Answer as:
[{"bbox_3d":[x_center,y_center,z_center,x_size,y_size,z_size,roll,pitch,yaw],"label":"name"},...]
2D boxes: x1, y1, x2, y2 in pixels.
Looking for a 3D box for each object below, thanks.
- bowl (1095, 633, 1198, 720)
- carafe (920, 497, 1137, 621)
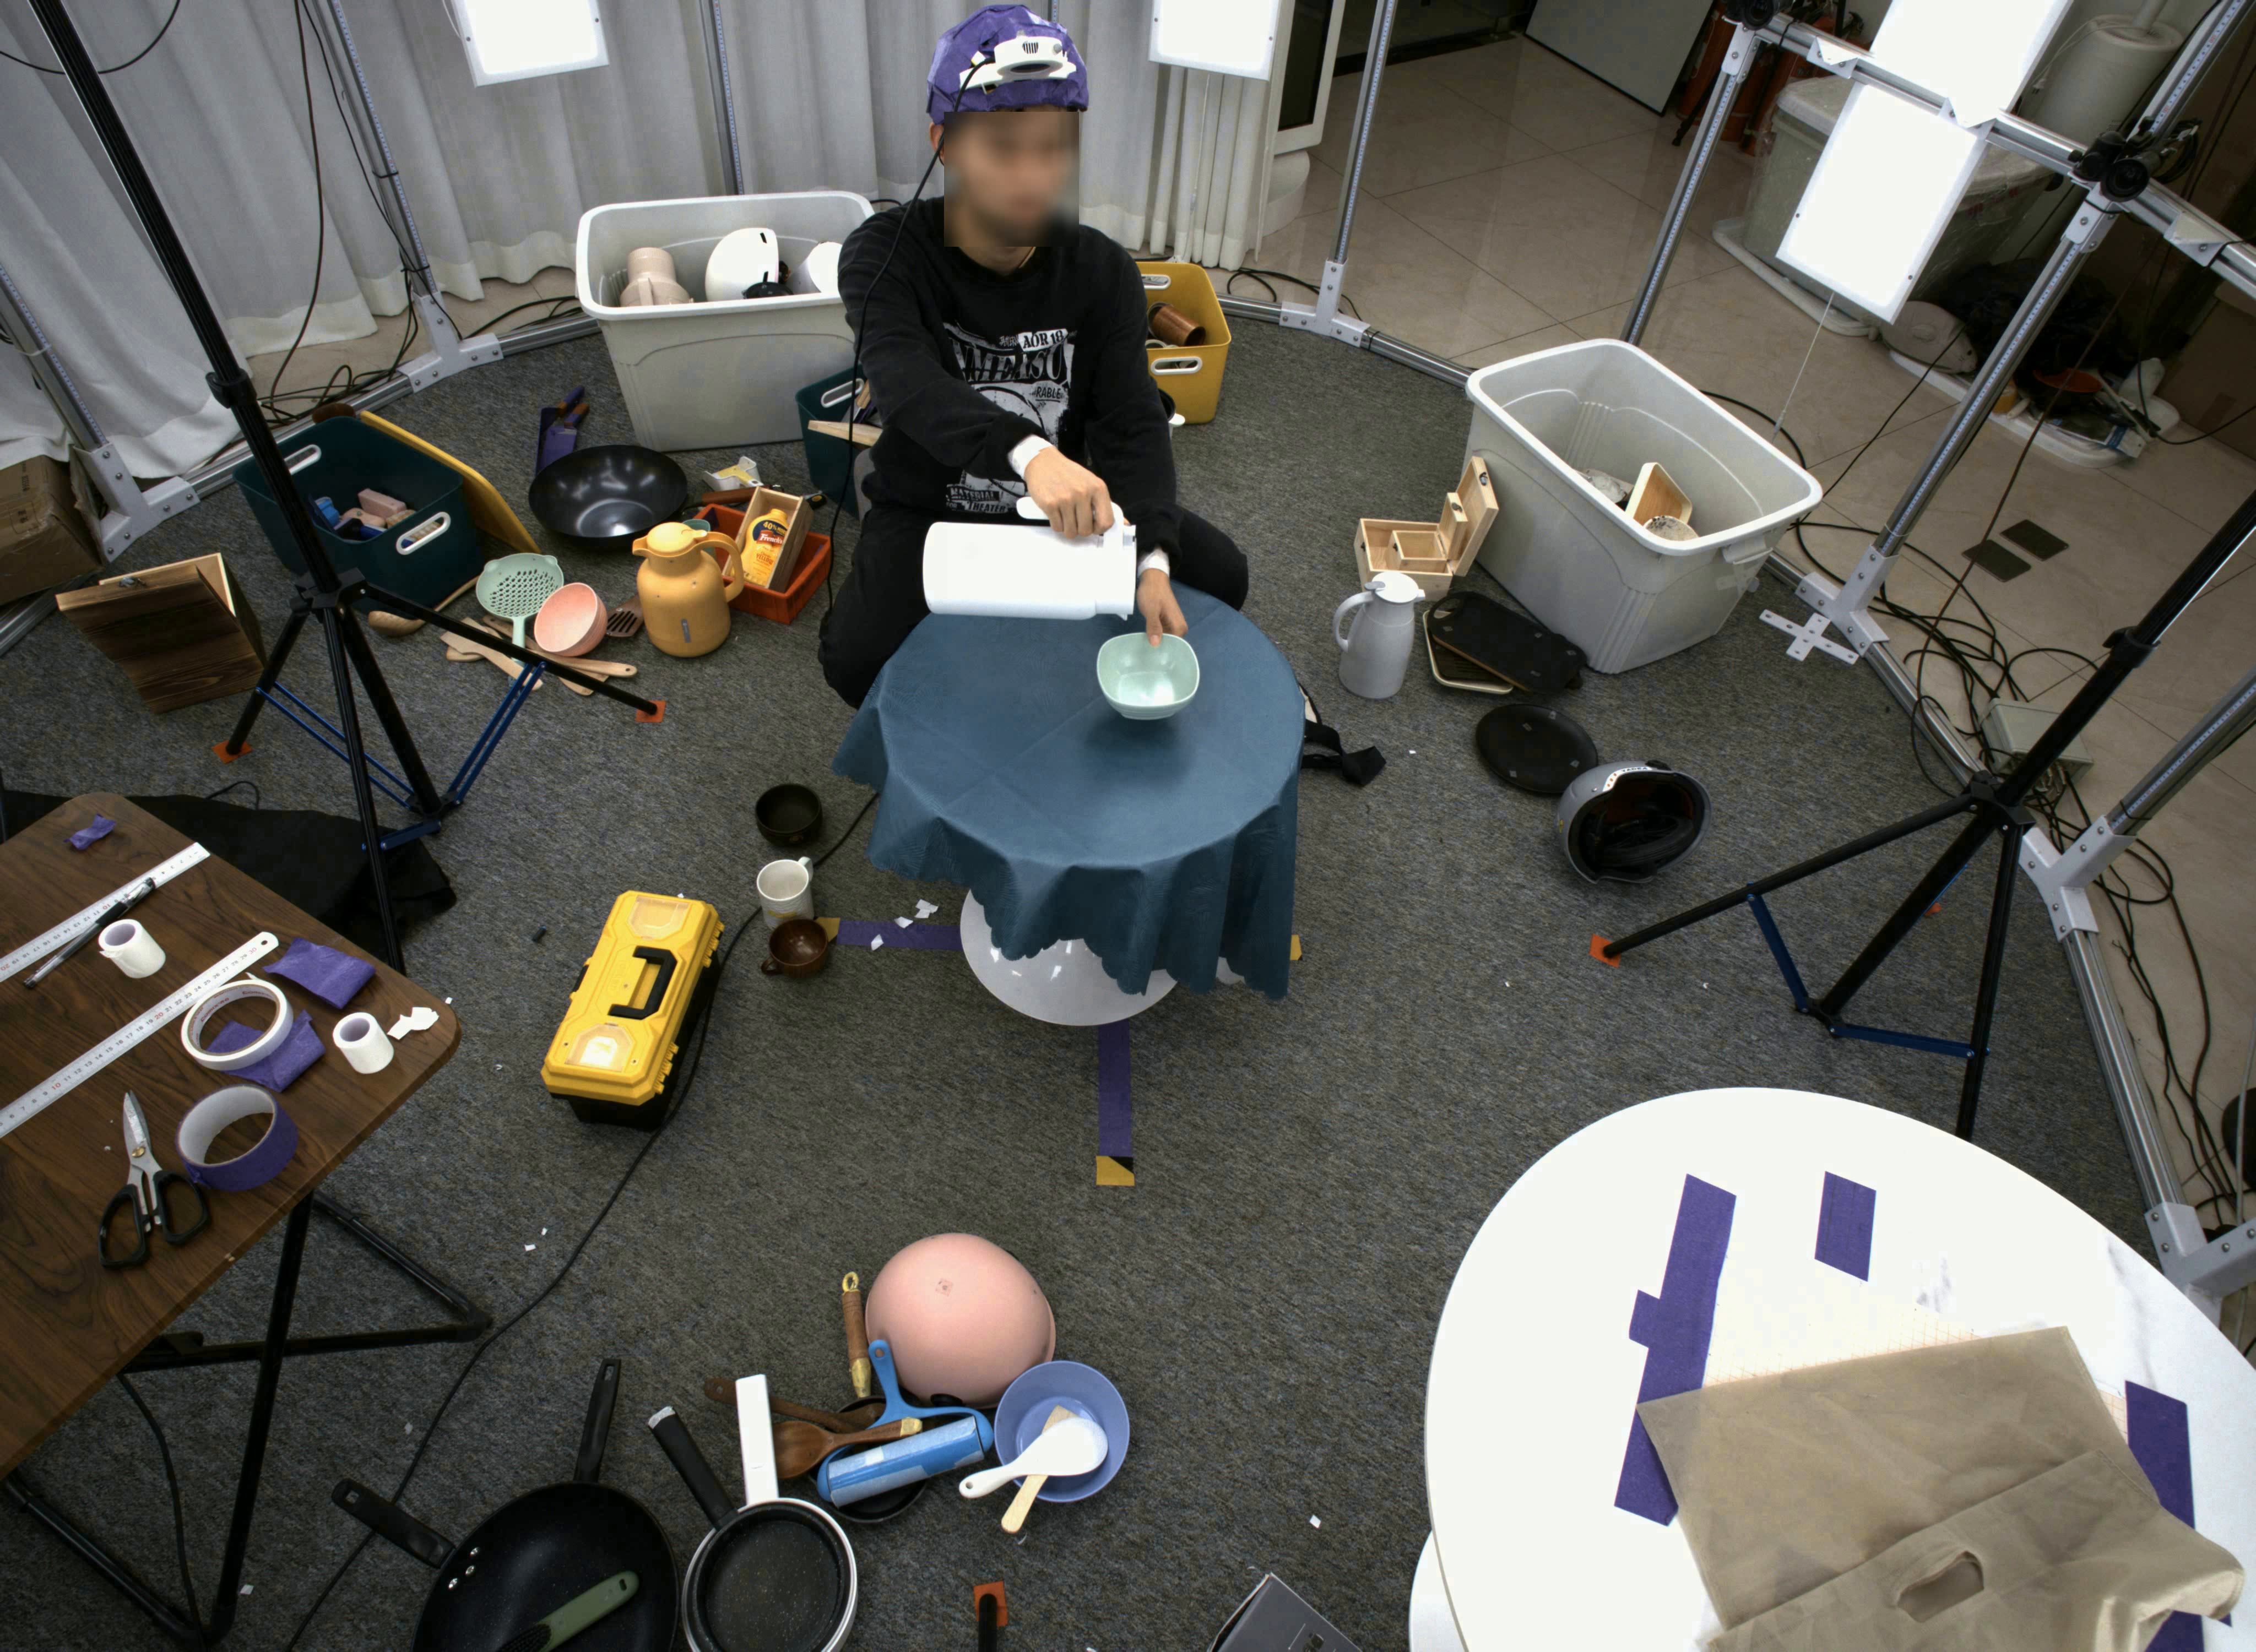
[{"bbox_3d":[0.024,-0.195,1.756,0.151,0.057,0.155,1,51,-1],"label":"bowl"},{"bbox_3d":[-0.125,-0.336,1.638,0.269,0.168,0.127,4,46,4],"label":"carafe"}]
